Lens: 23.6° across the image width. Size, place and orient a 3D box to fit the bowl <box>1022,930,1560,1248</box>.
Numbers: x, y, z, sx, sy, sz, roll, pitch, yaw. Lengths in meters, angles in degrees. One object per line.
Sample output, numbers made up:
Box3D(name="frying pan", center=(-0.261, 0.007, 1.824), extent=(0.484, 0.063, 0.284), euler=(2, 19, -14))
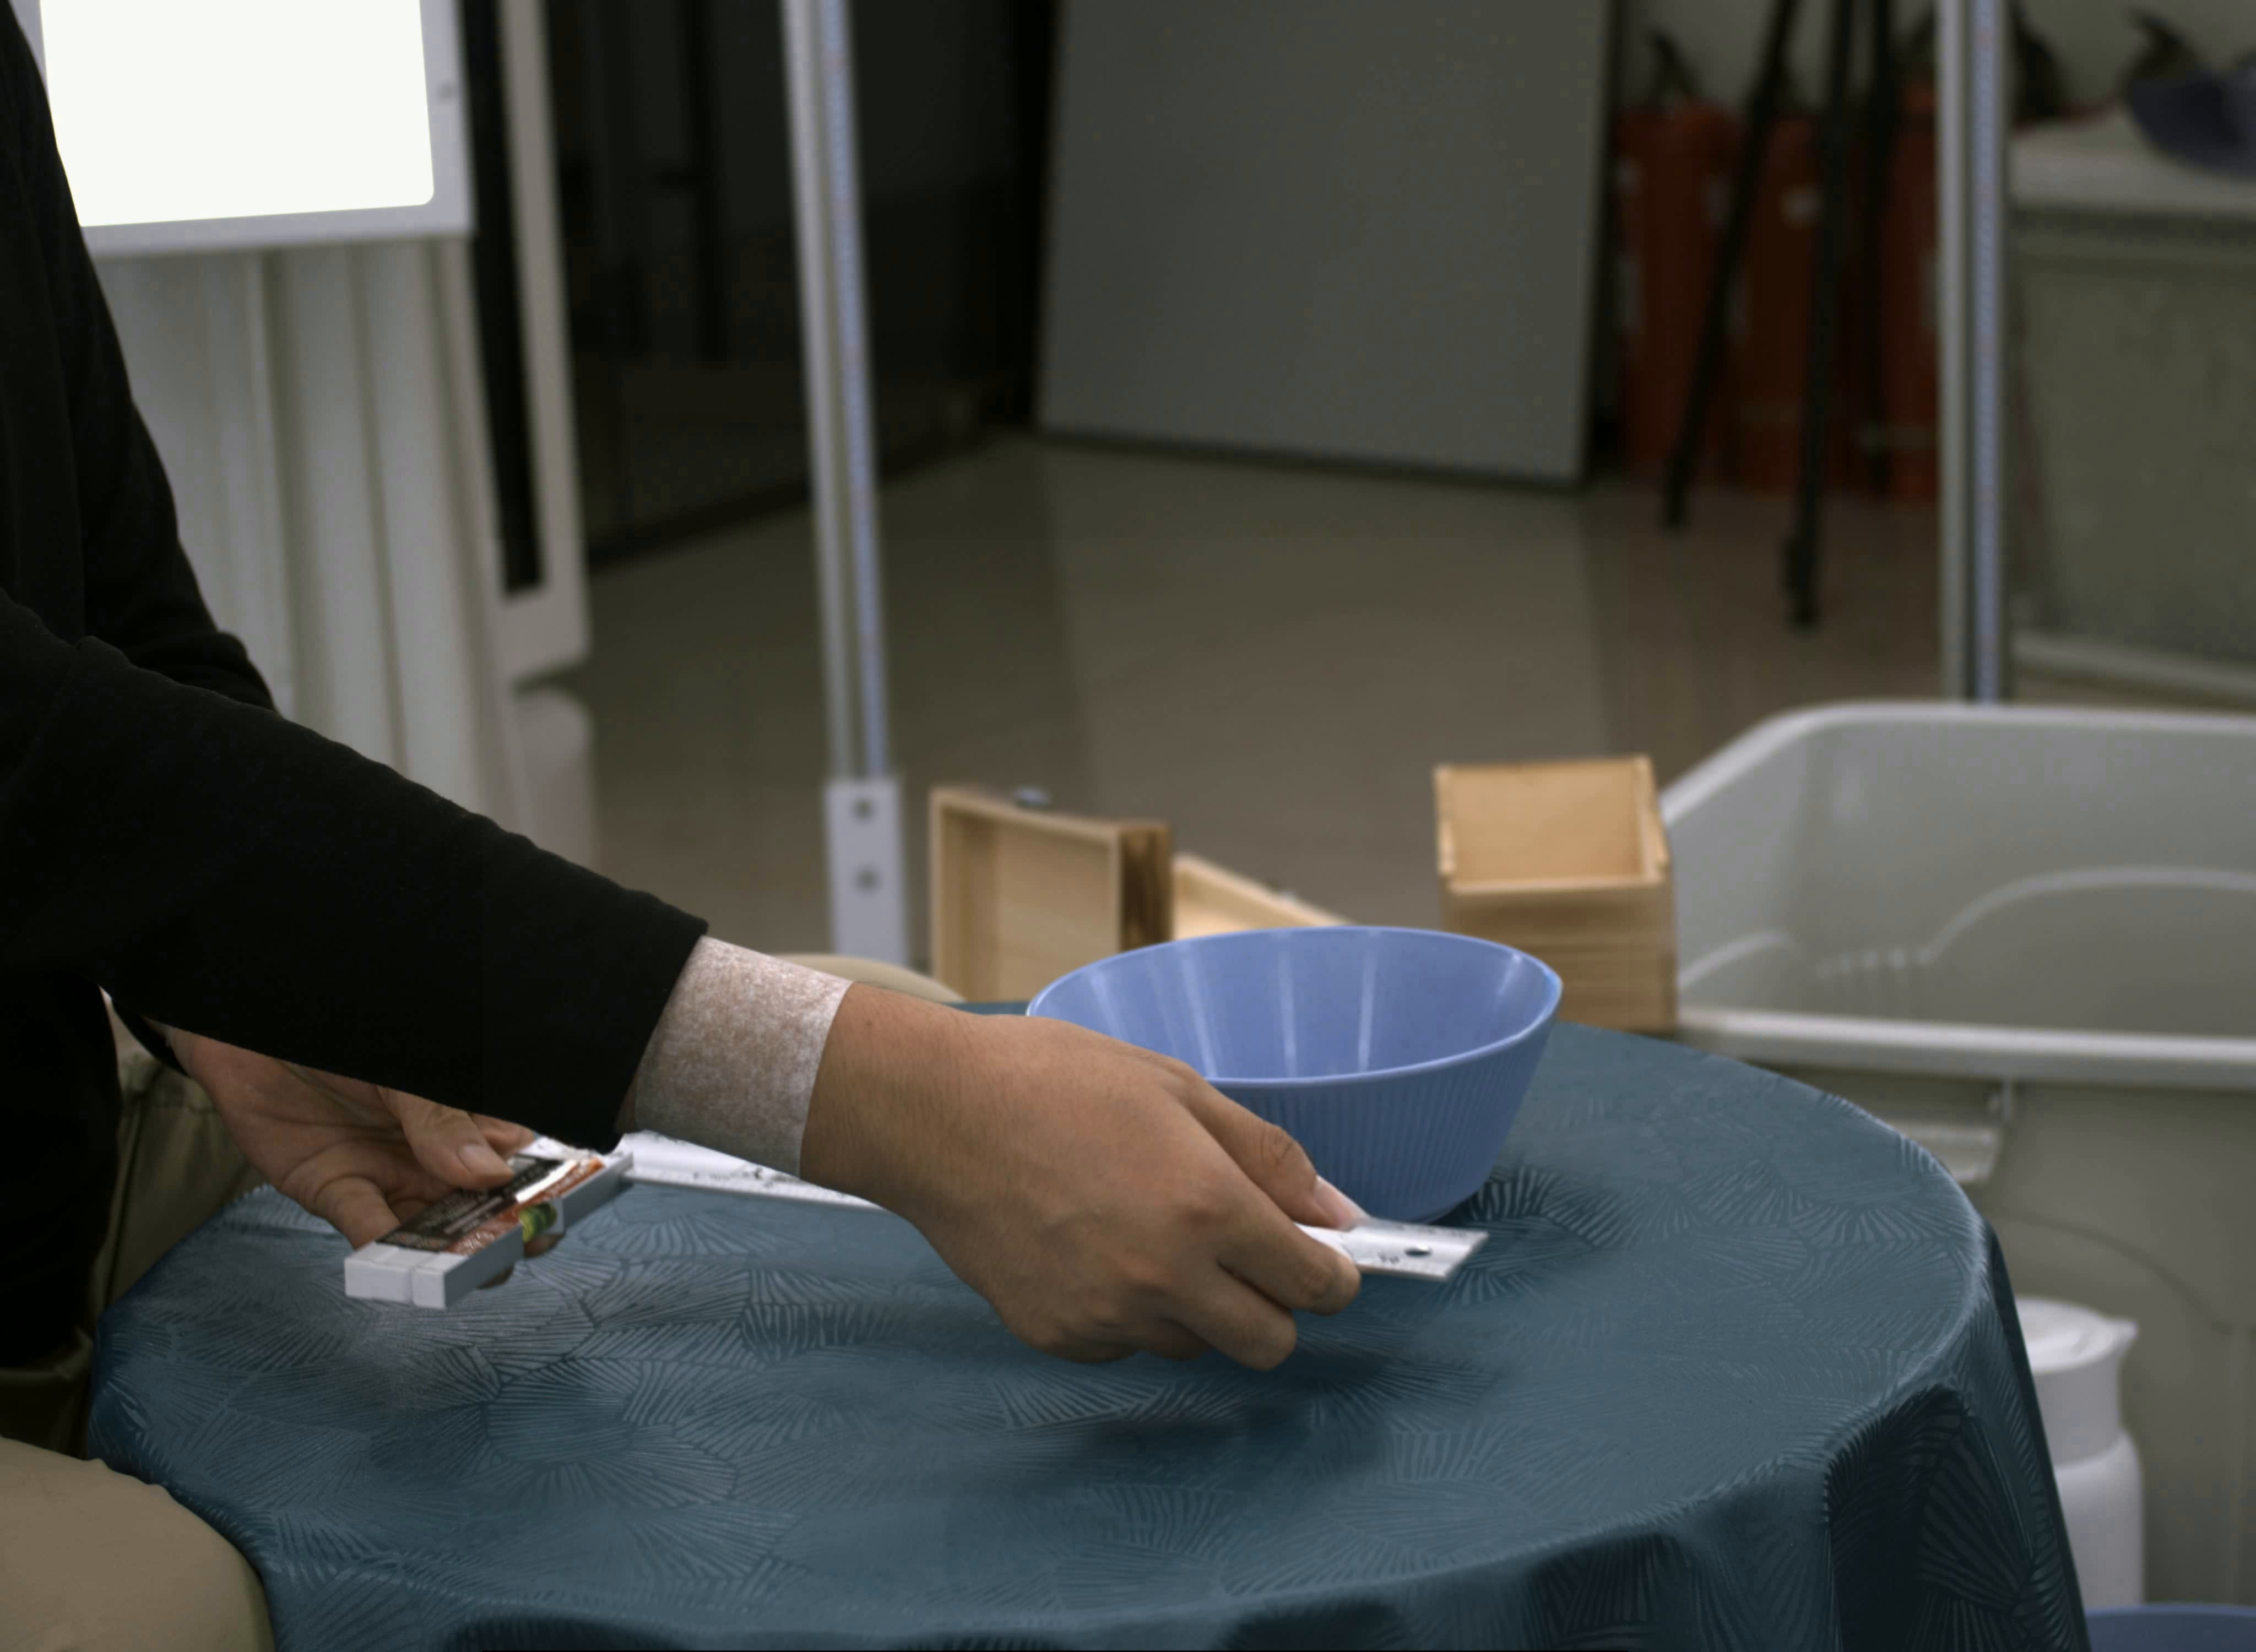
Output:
Box3D(name="bowl", center=(0.054, 0.087, 1.745), extent=(0.174, 0.071, 0.176), euler=(-4, 14, 0))

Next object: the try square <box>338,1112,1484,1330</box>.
Box3D(name="try square", center=(-0.064, 0.128, 1.599), extent=(0.313, 0.016, 0.150), euler=(5, 20, 25))
